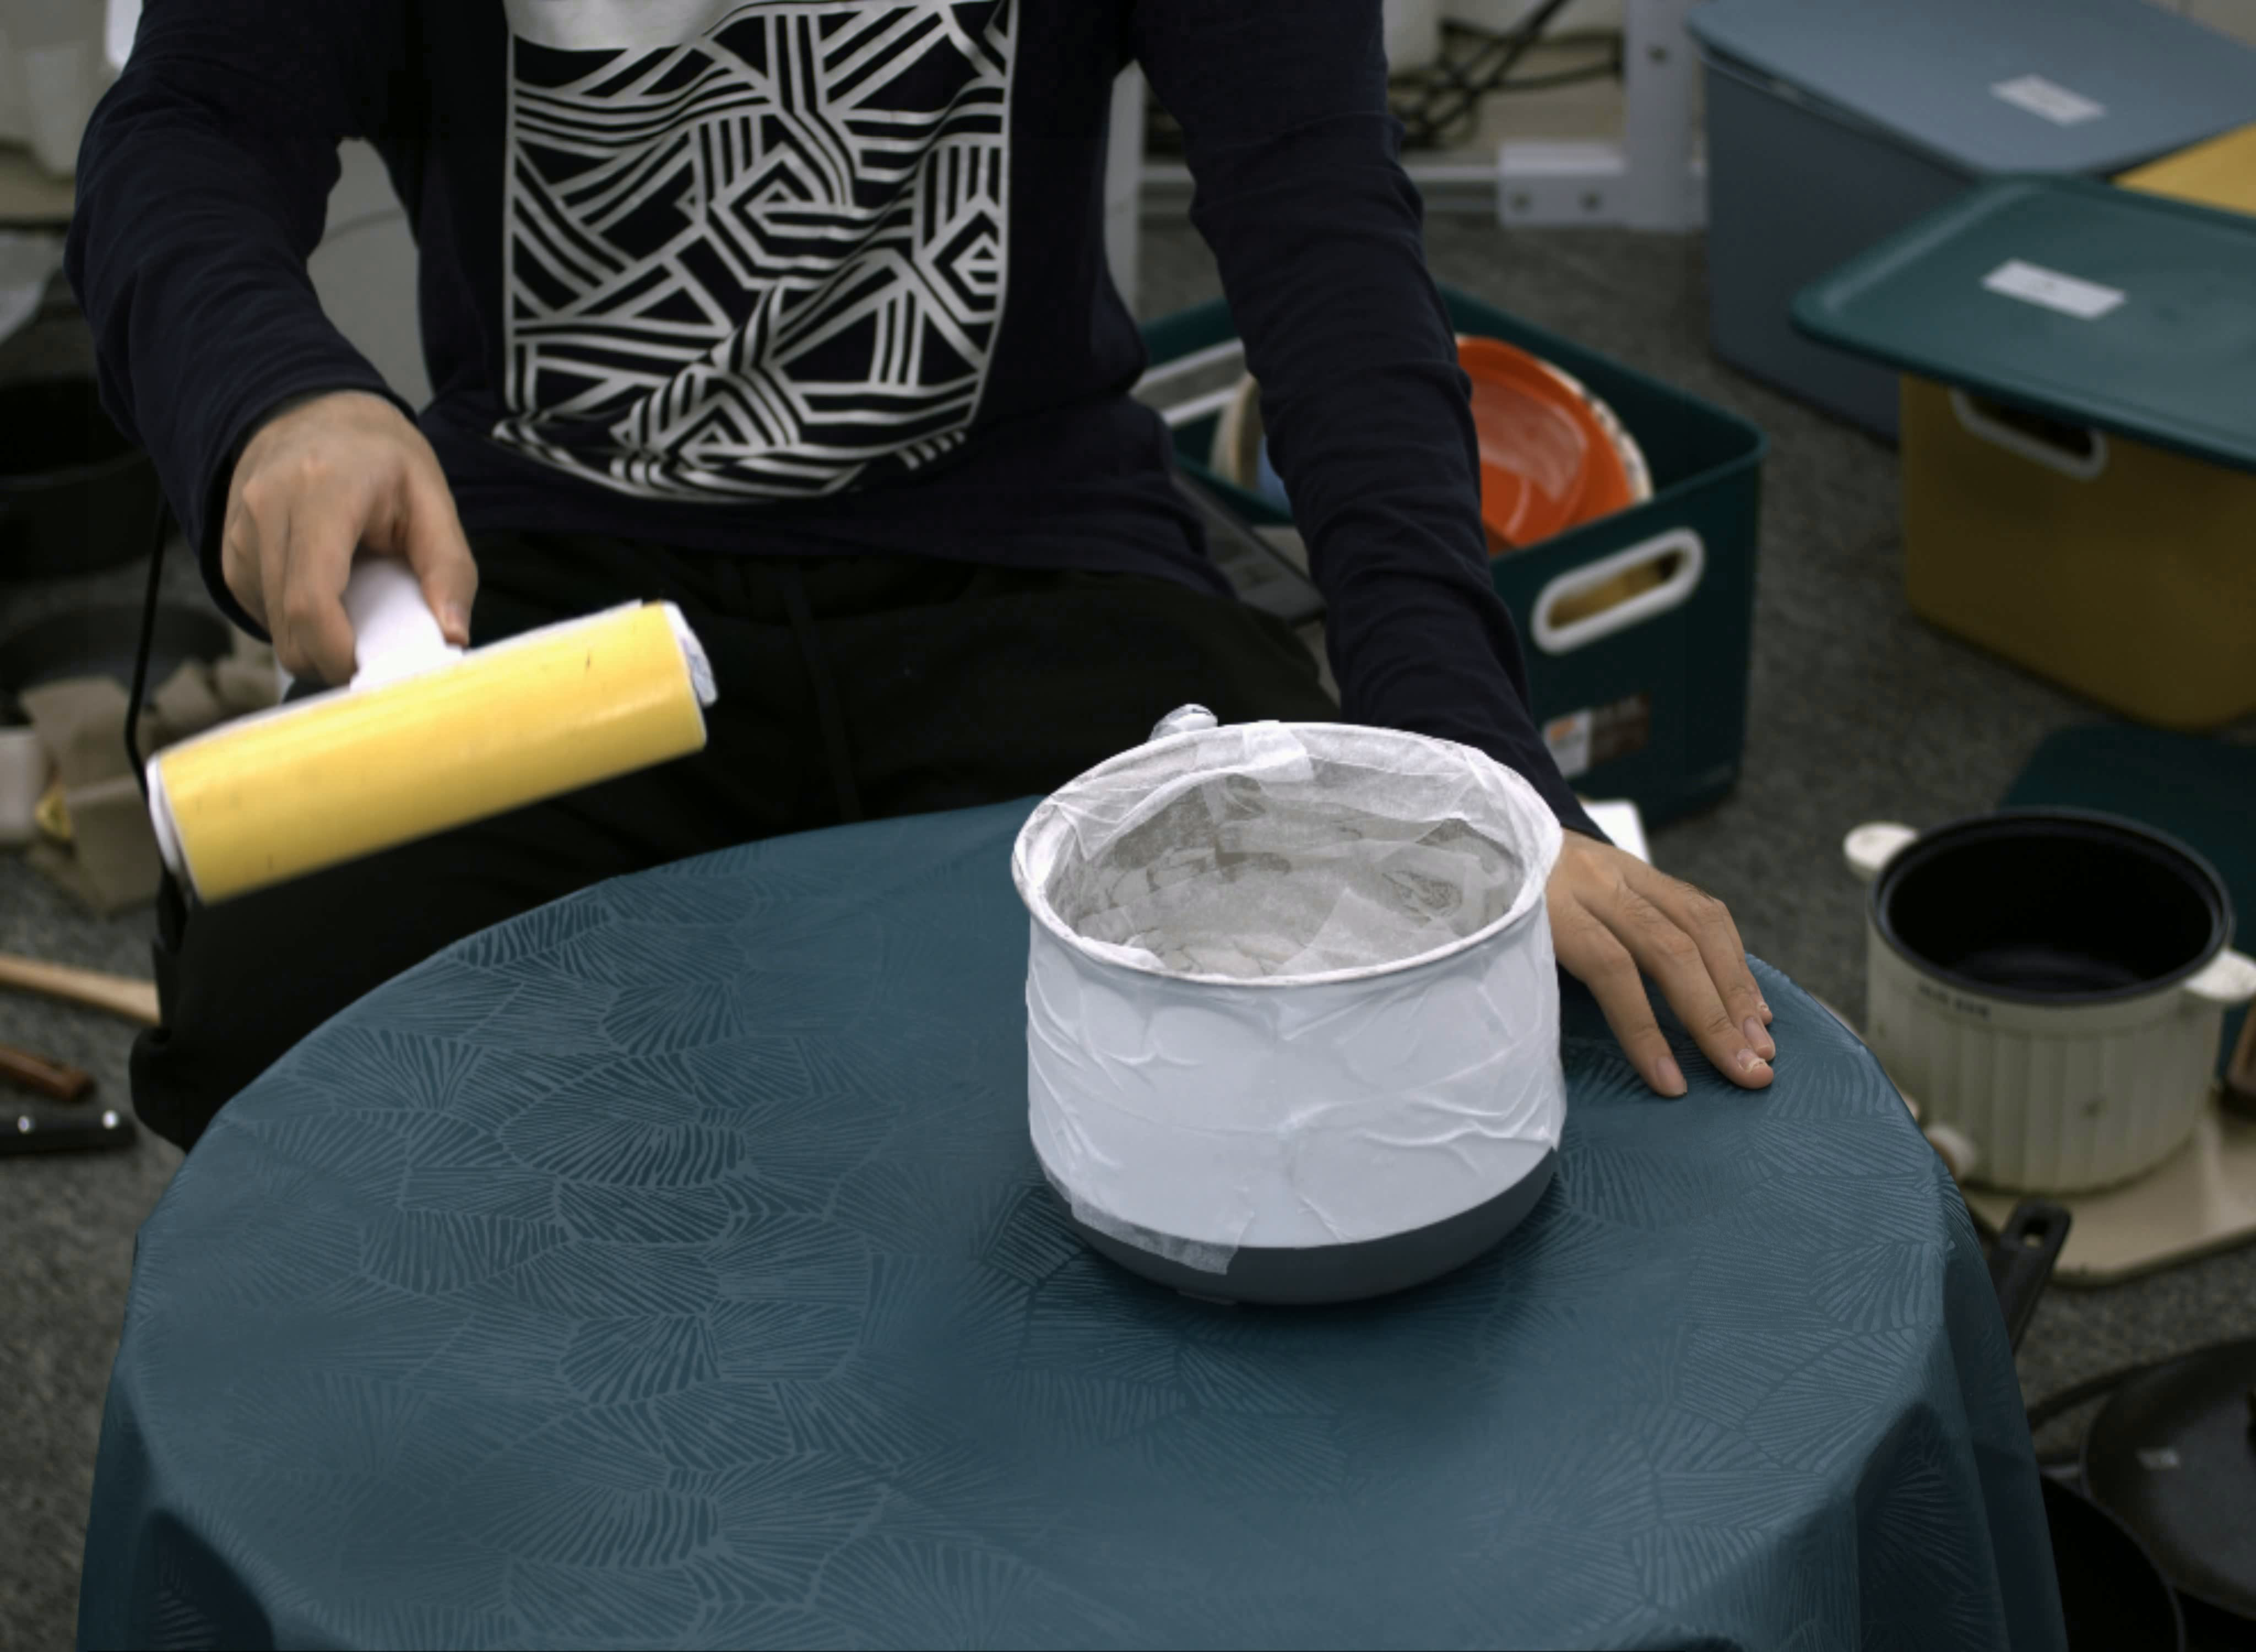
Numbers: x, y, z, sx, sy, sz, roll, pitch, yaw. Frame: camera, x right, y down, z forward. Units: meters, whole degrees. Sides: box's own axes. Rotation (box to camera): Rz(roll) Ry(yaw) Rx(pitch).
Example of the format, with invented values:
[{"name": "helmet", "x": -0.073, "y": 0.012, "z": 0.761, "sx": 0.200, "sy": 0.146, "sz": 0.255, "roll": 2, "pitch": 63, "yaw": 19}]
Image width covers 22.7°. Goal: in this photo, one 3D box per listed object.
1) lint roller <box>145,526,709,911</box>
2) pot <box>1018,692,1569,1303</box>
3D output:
[{"name": "lint roller", "x": -0.234, "y": -0.057, "z": 1.776, "sx": 0.174, "sy": 0.051, "sz": 0.194, "roll": -18, "pitch": 38, "yaw": -9}, {"name": "pot", "x": 0.045, "y": 0.048, "z": 1.847, "sx": 0.179, "sy": 0.135, "sz": 0.236, "roll": -10, "pitch": 29, "yaw": -17}]
